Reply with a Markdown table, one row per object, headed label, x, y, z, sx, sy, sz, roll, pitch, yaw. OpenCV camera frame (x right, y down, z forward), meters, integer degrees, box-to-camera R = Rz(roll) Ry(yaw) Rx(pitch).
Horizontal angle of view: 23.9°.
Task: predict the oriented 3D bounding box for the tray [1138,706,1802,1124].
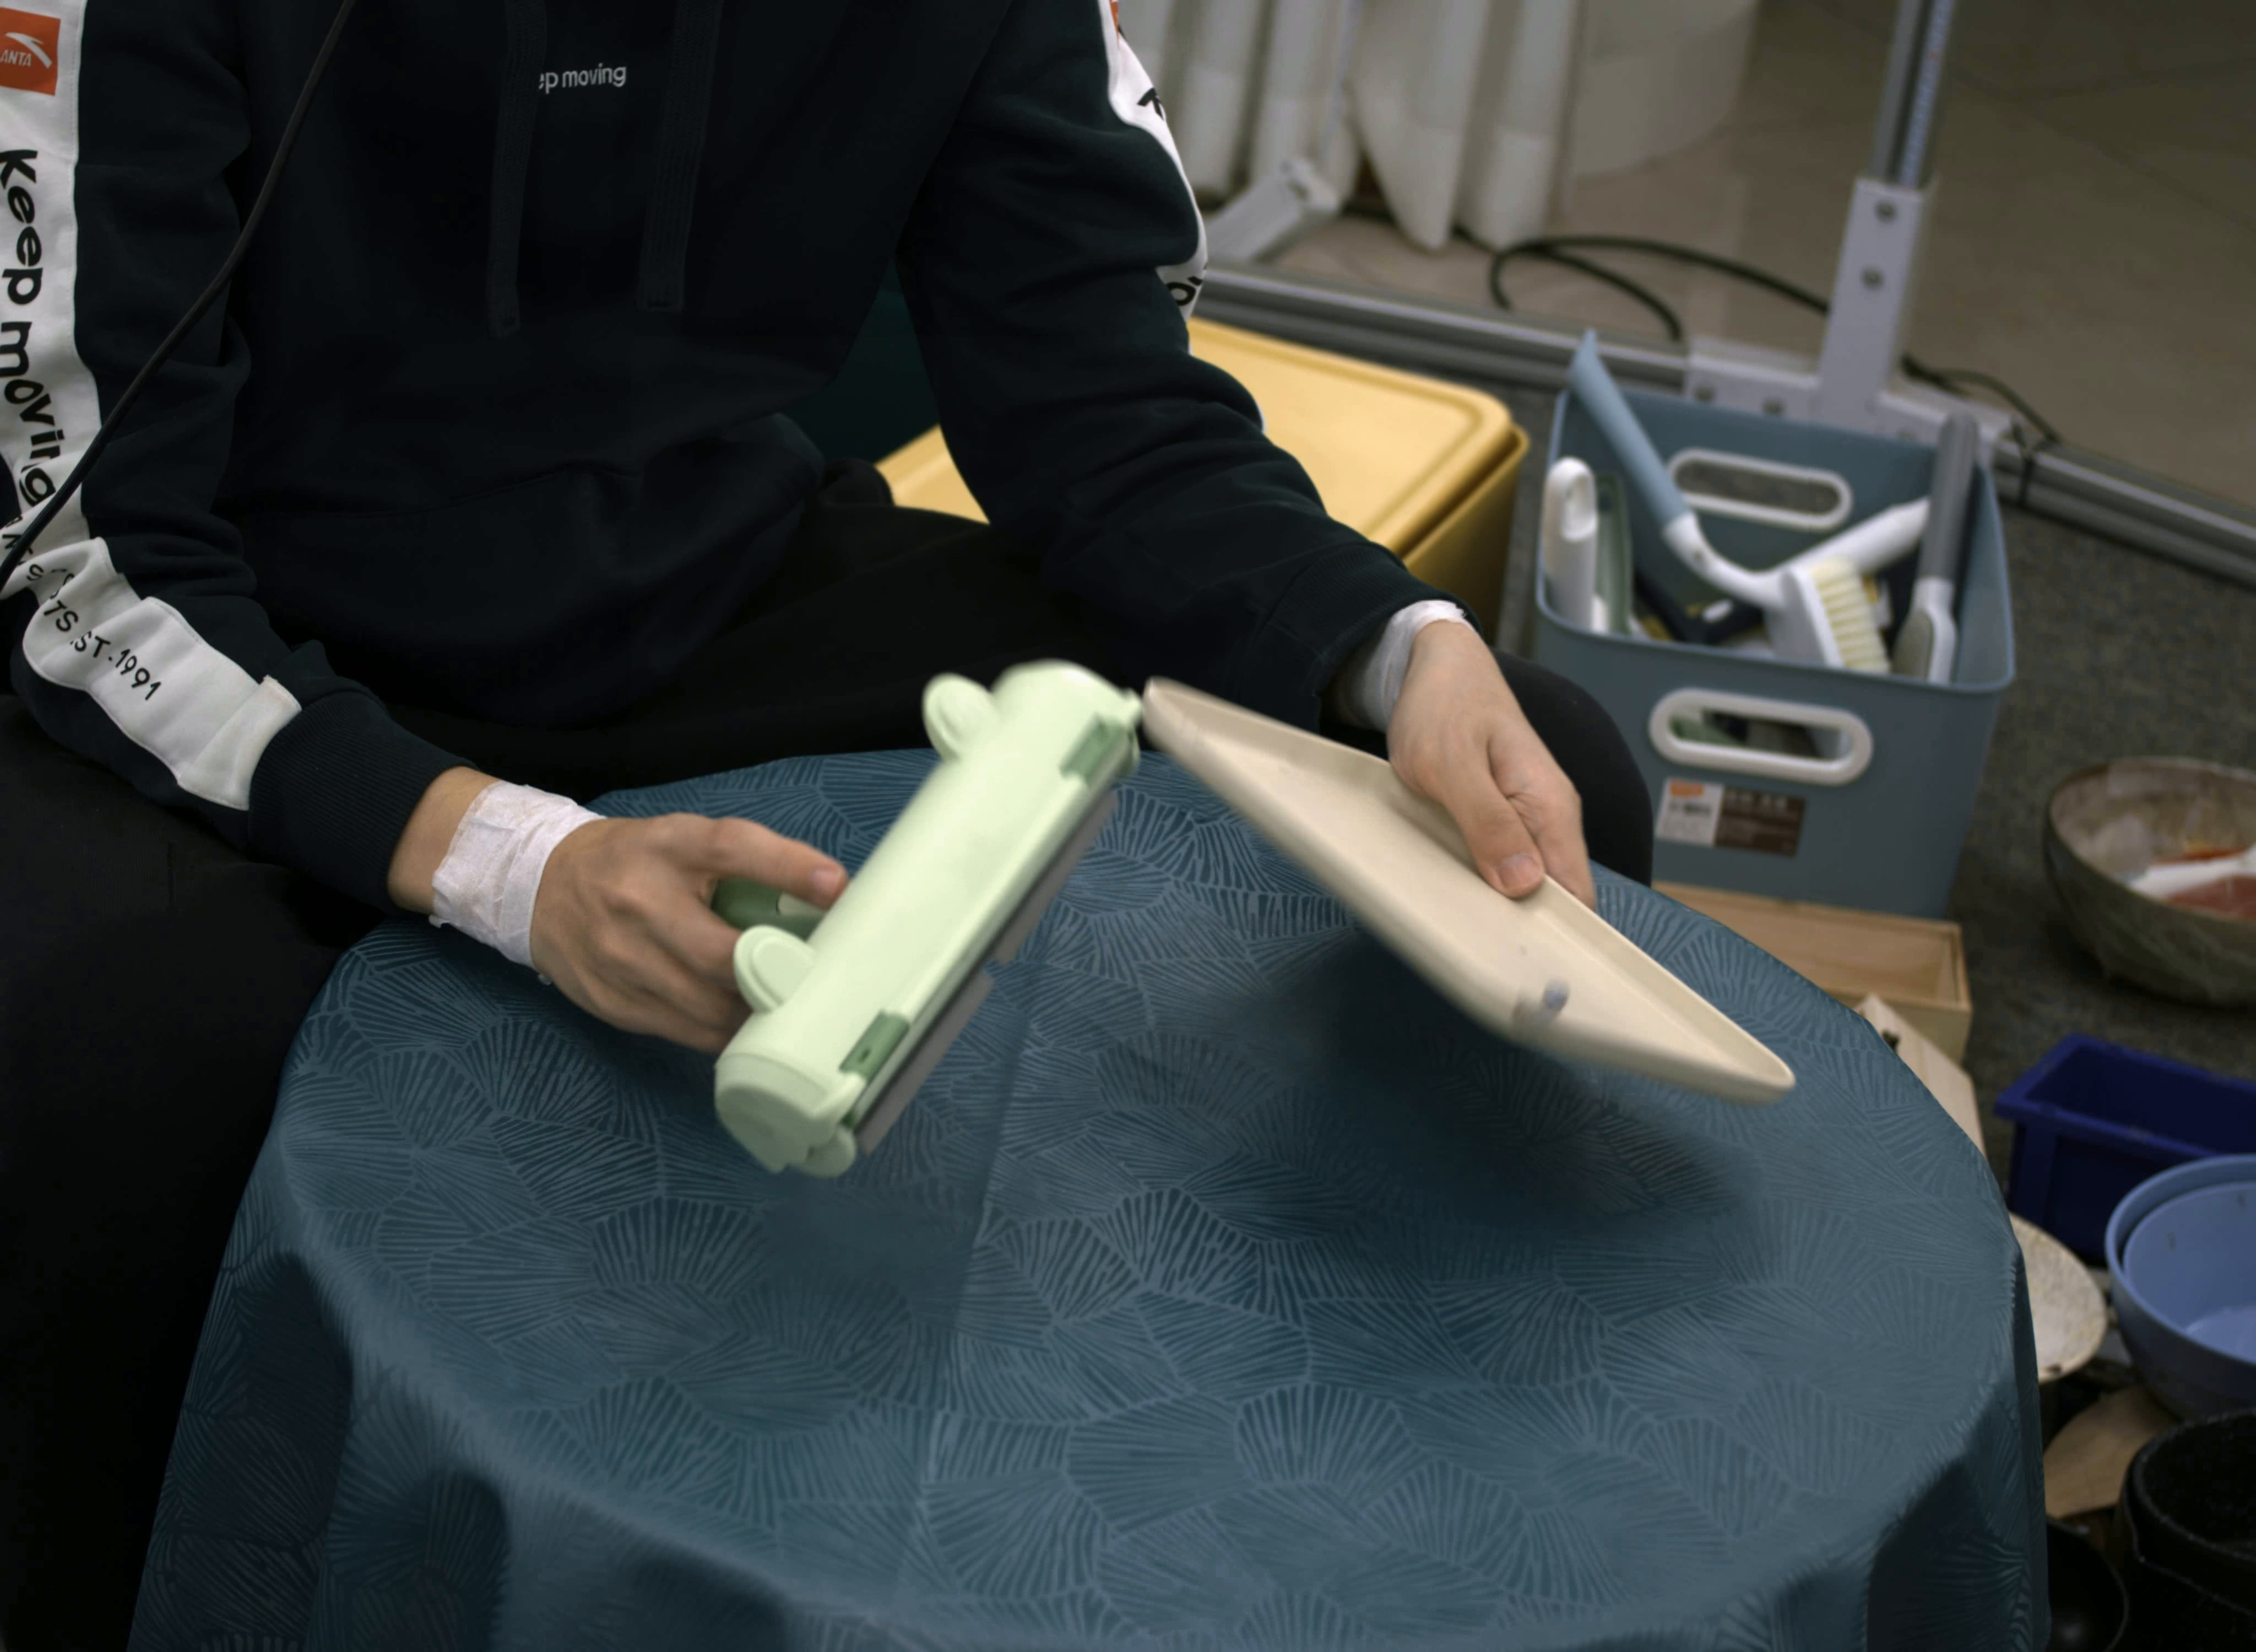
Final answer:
| label | x | y | z | sx | sy | sz | roll | pitch | yaw |
| --- | --- | --- | --- | --- | --- | --- | --- | --- | --- |
| tray | 0.115 | 0.032 | 1.848 | 0.169 | 0.017 | 0.242 | 14 | 20 | -44 |

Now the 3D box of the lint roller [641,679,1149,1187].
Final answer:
| label | x | y | z | sx | sy | sz | roll | pitch | yaw |
| --- | --- | --- | --- | --- | --- | --- | --- | --- | --- |
| lint roller | -0.109 | 0.023 | 1.761 | 0.184 | 0.081 | 0.199 | 6 | 47 | 41 |
